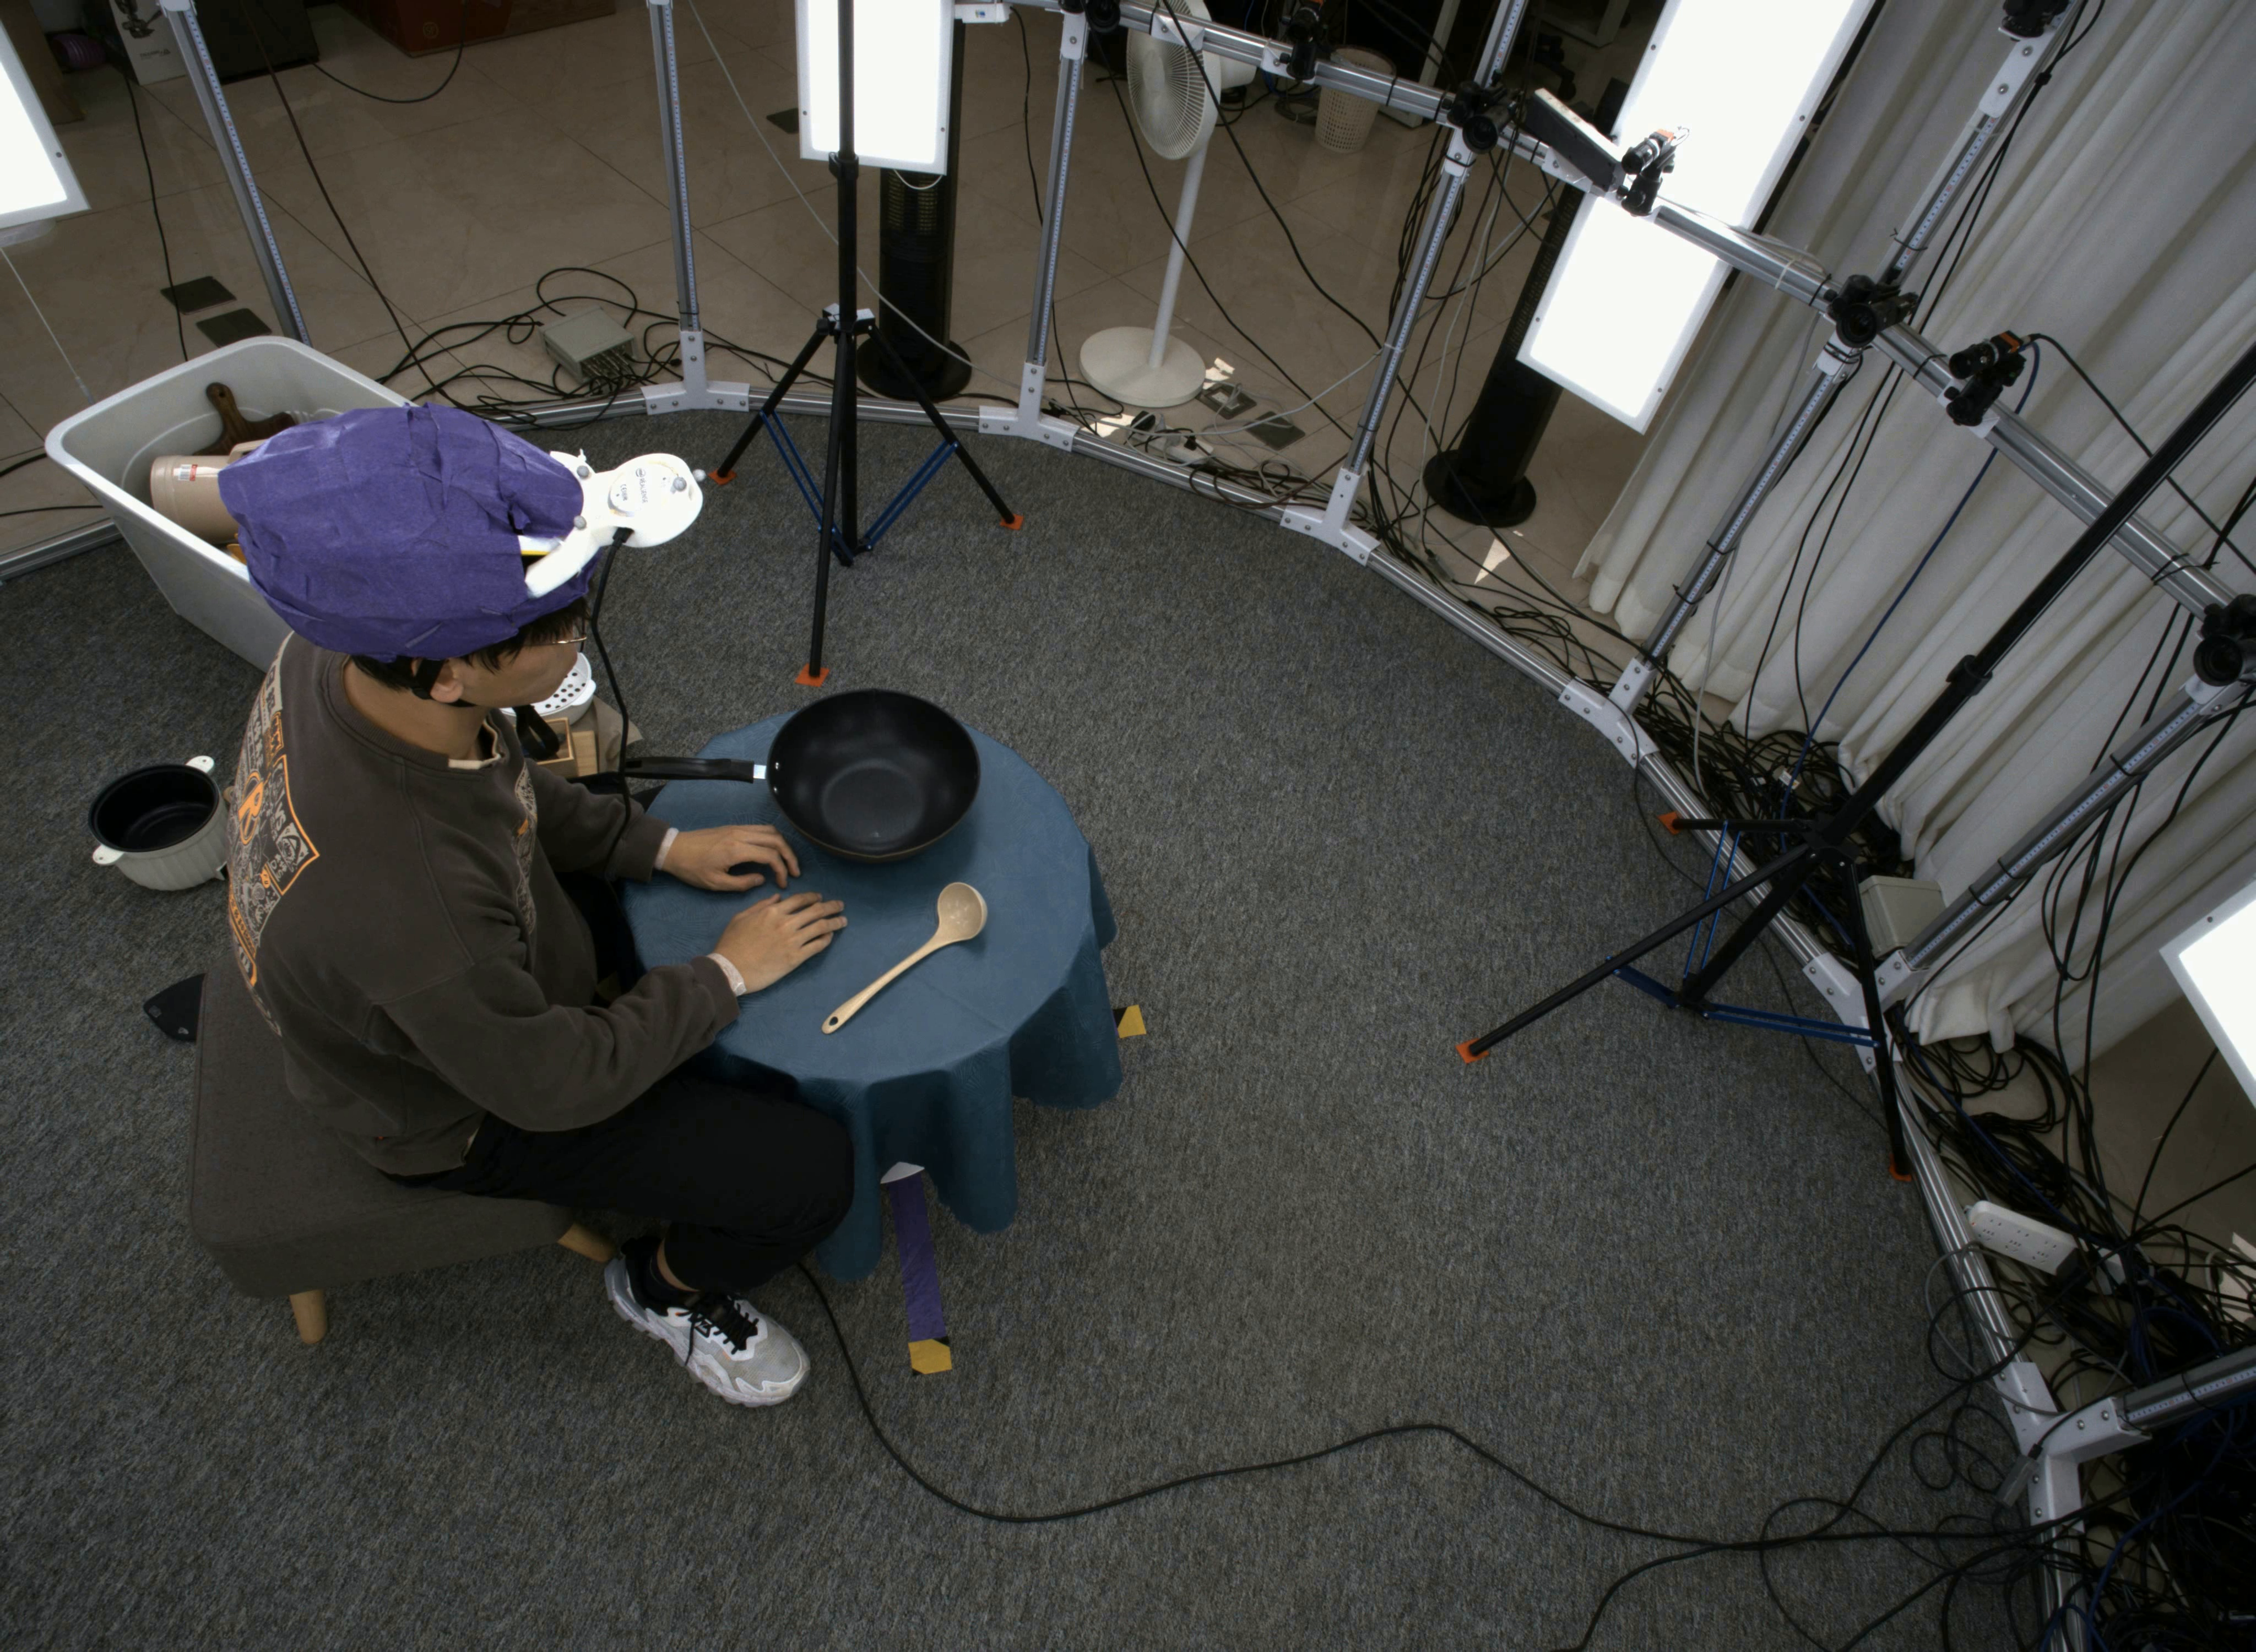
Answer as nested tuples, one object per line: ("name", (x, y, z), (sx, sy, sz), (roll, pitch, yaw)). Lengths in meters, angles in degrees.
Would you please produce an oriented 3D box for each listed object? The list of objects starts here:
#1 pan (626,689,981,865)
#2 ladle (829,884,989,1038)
("pan", (-0.427, -0.052, 1.723), (0.463, 0.089, 0.282), (0, 55, -12))
("ladle", (-0.273, 0.161, 1.610), (0.071, 0.074, 0.254), (41, 54, 12))
